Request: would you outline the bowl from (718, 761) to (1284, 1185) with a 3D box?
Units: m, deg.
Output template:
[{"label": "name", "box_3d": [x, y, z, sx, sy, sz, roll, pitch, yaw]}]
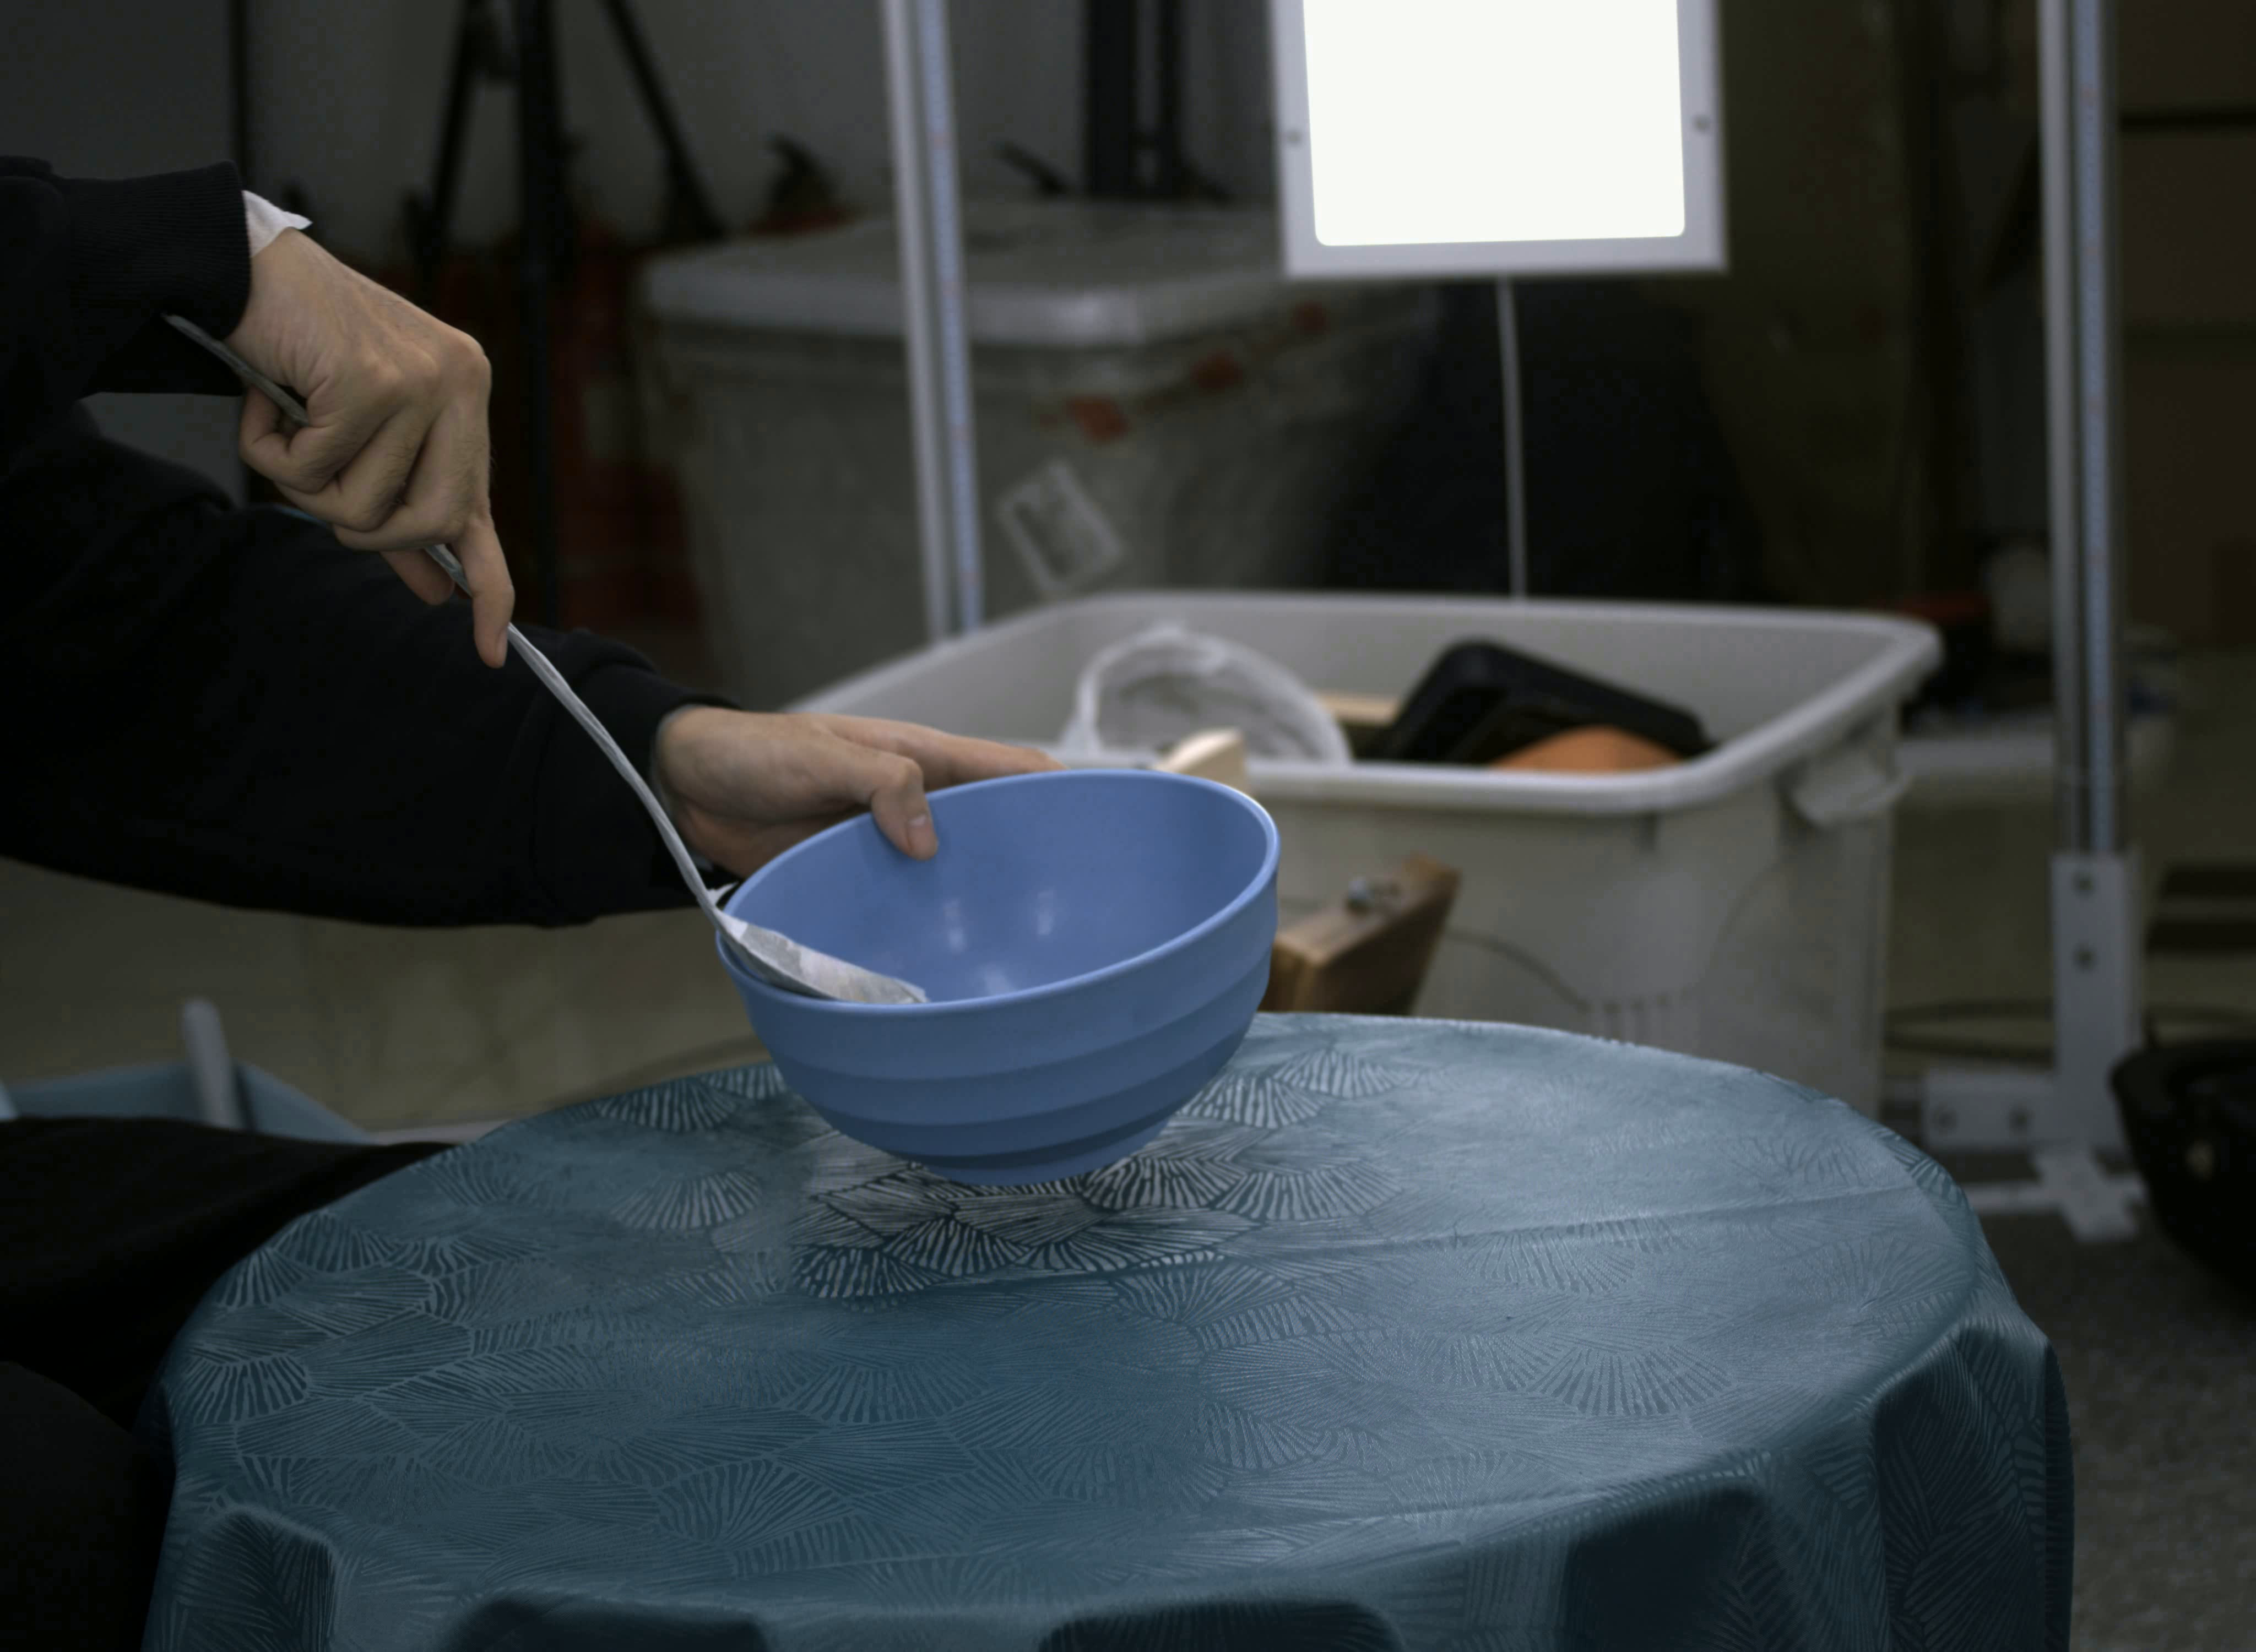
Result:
[{"label": "bowl", "box_3d": [-0.036, 0.061, 1.891, 0.196, 0.095, 0.196, -10, 23, 3]}]

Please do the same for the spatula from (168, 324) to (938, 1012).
[{"label": "spatula", "box_3d": [-0.177, -0.042, 1.816, 0.045, 0.362, 0.099, -41, 20, -2]}]
